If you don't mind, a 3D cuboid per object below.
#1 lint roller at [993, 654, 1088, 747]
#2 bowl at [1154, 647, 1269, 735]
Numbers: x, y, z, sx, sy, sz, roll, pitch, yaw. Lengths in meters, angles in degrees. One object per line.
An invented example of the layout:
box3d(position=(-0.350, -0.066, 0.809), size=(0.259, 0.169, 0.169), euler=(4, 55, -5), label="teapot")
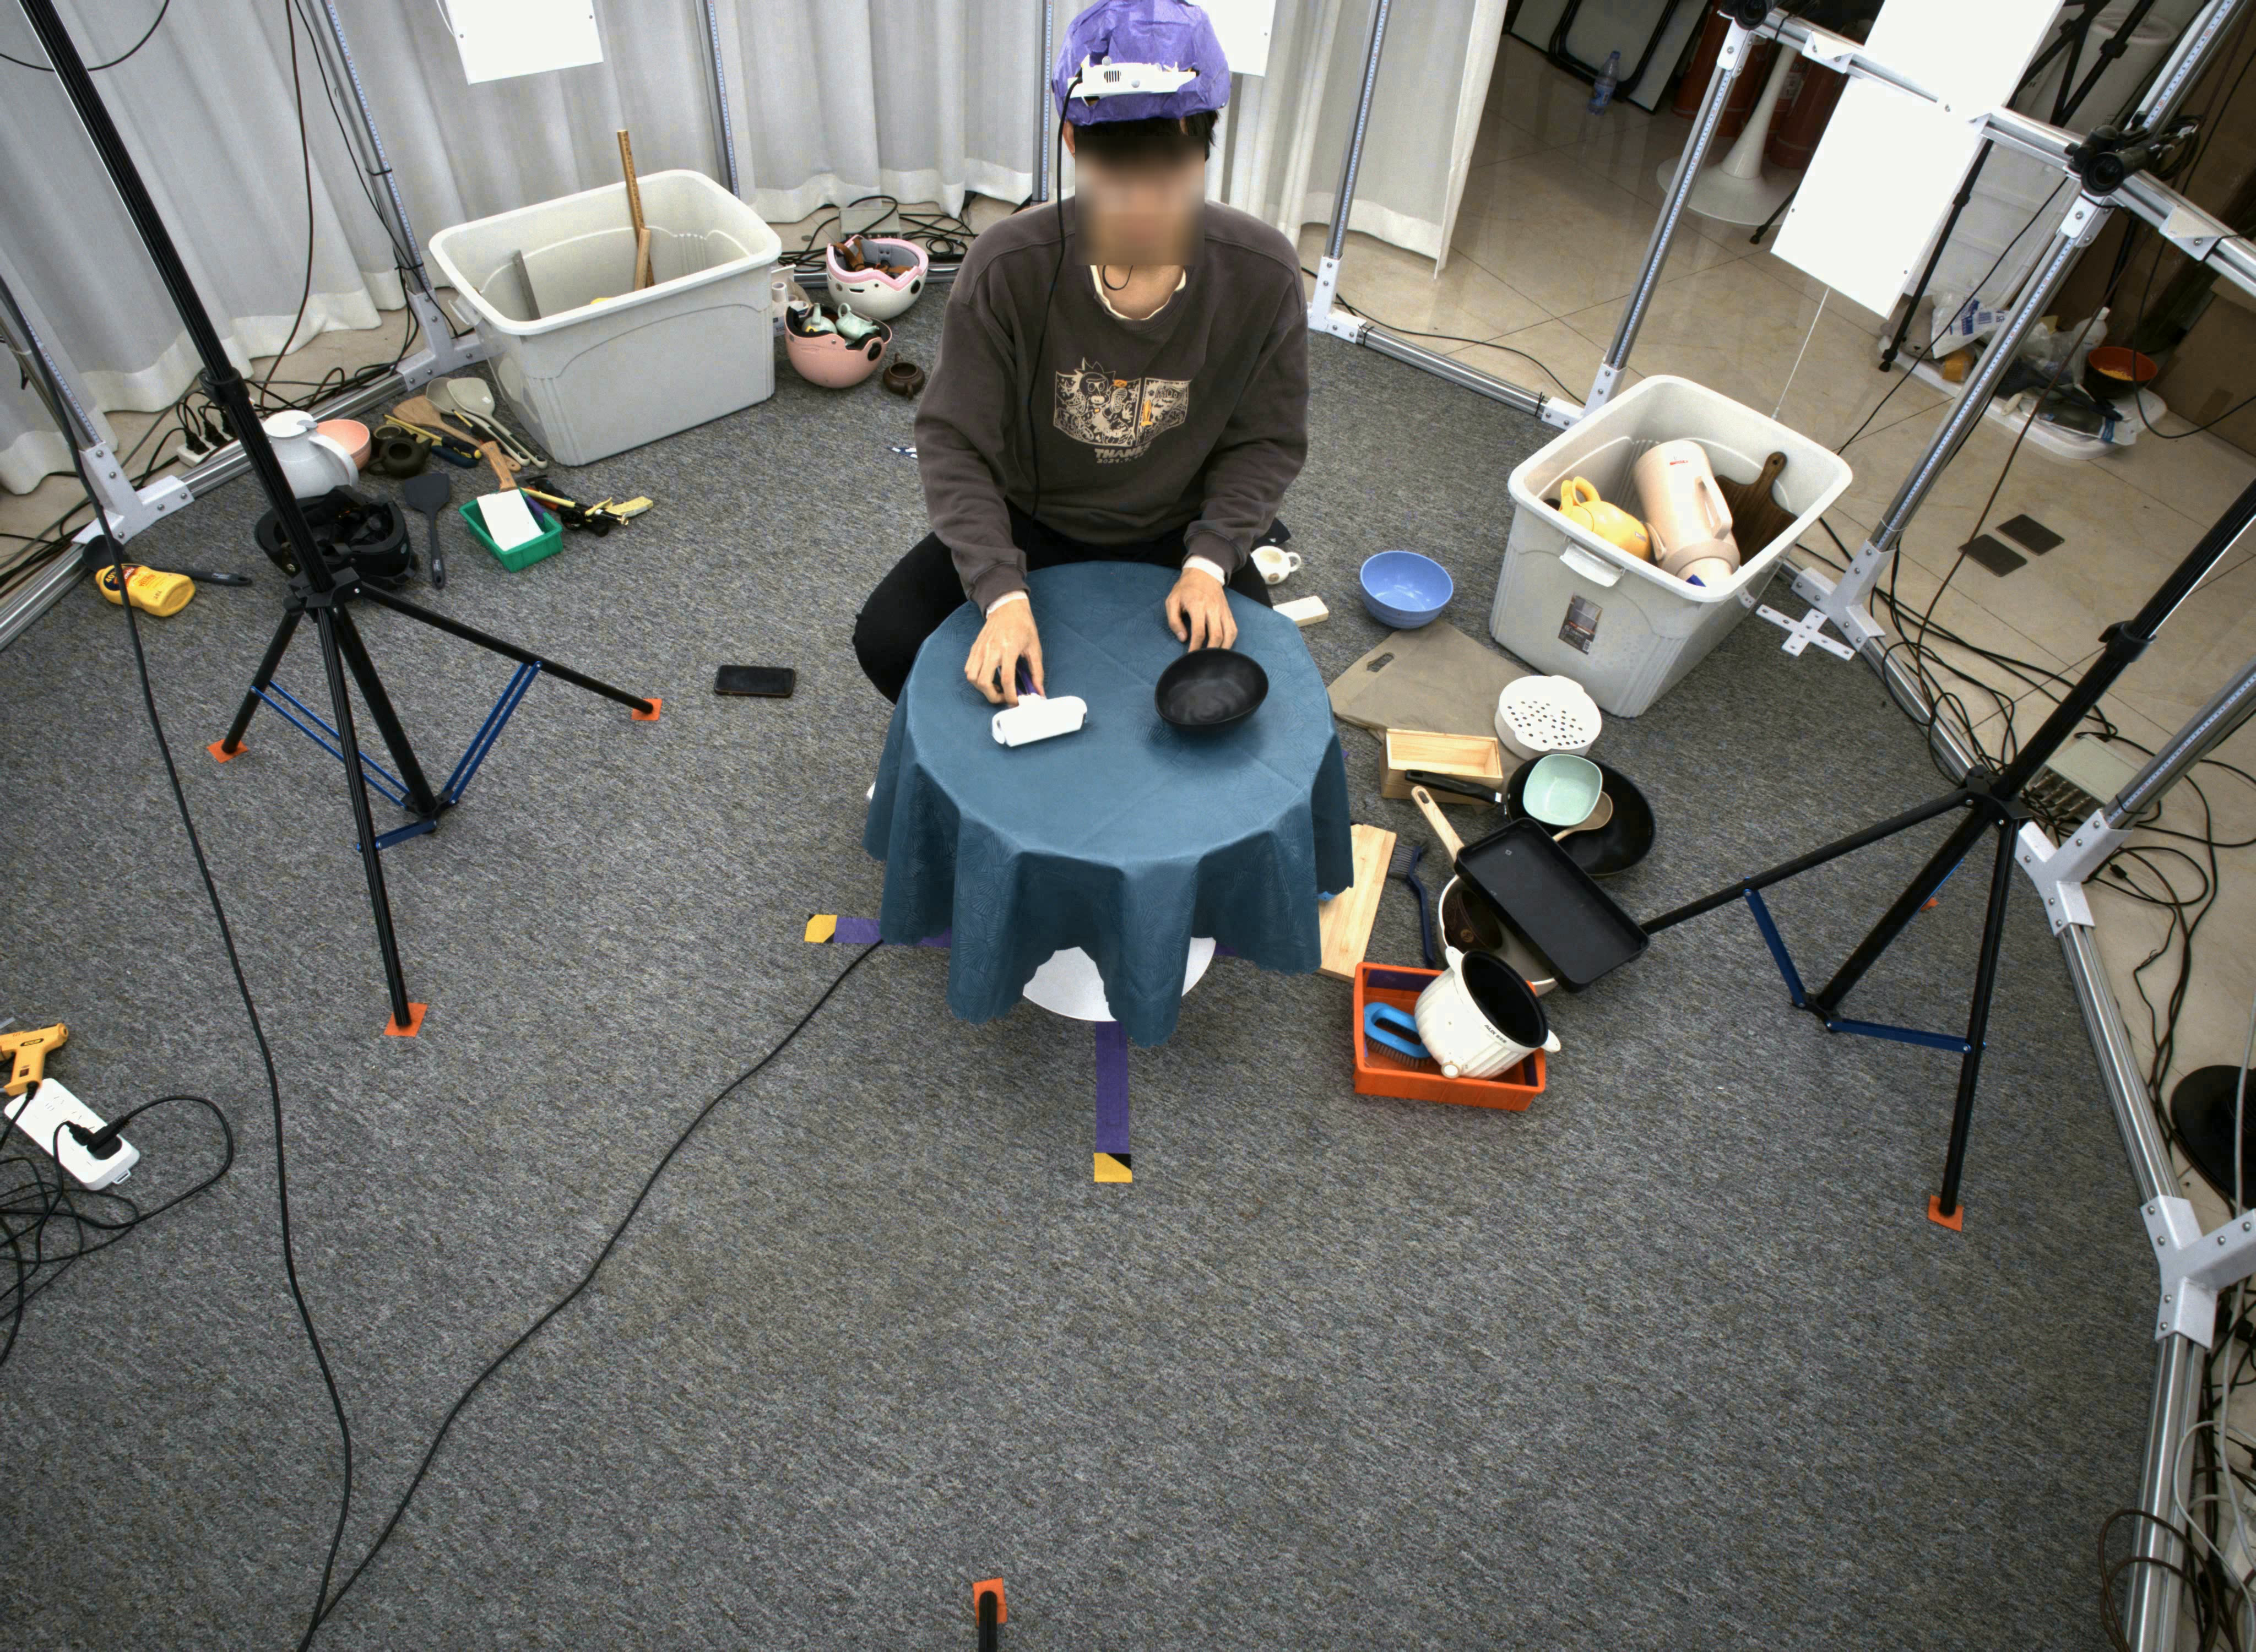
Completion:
box3d(position=(-0.141, -0.191, 1.792), size=(0.133, 0.049, 0.185), euler=(-14, 54, -15), label="lint roller")
box3d(position=(0.115, -0.175, 1.784), size=(0.171, 0.065, 0.140), euler=(-29, 55, -24), label="bowl")
